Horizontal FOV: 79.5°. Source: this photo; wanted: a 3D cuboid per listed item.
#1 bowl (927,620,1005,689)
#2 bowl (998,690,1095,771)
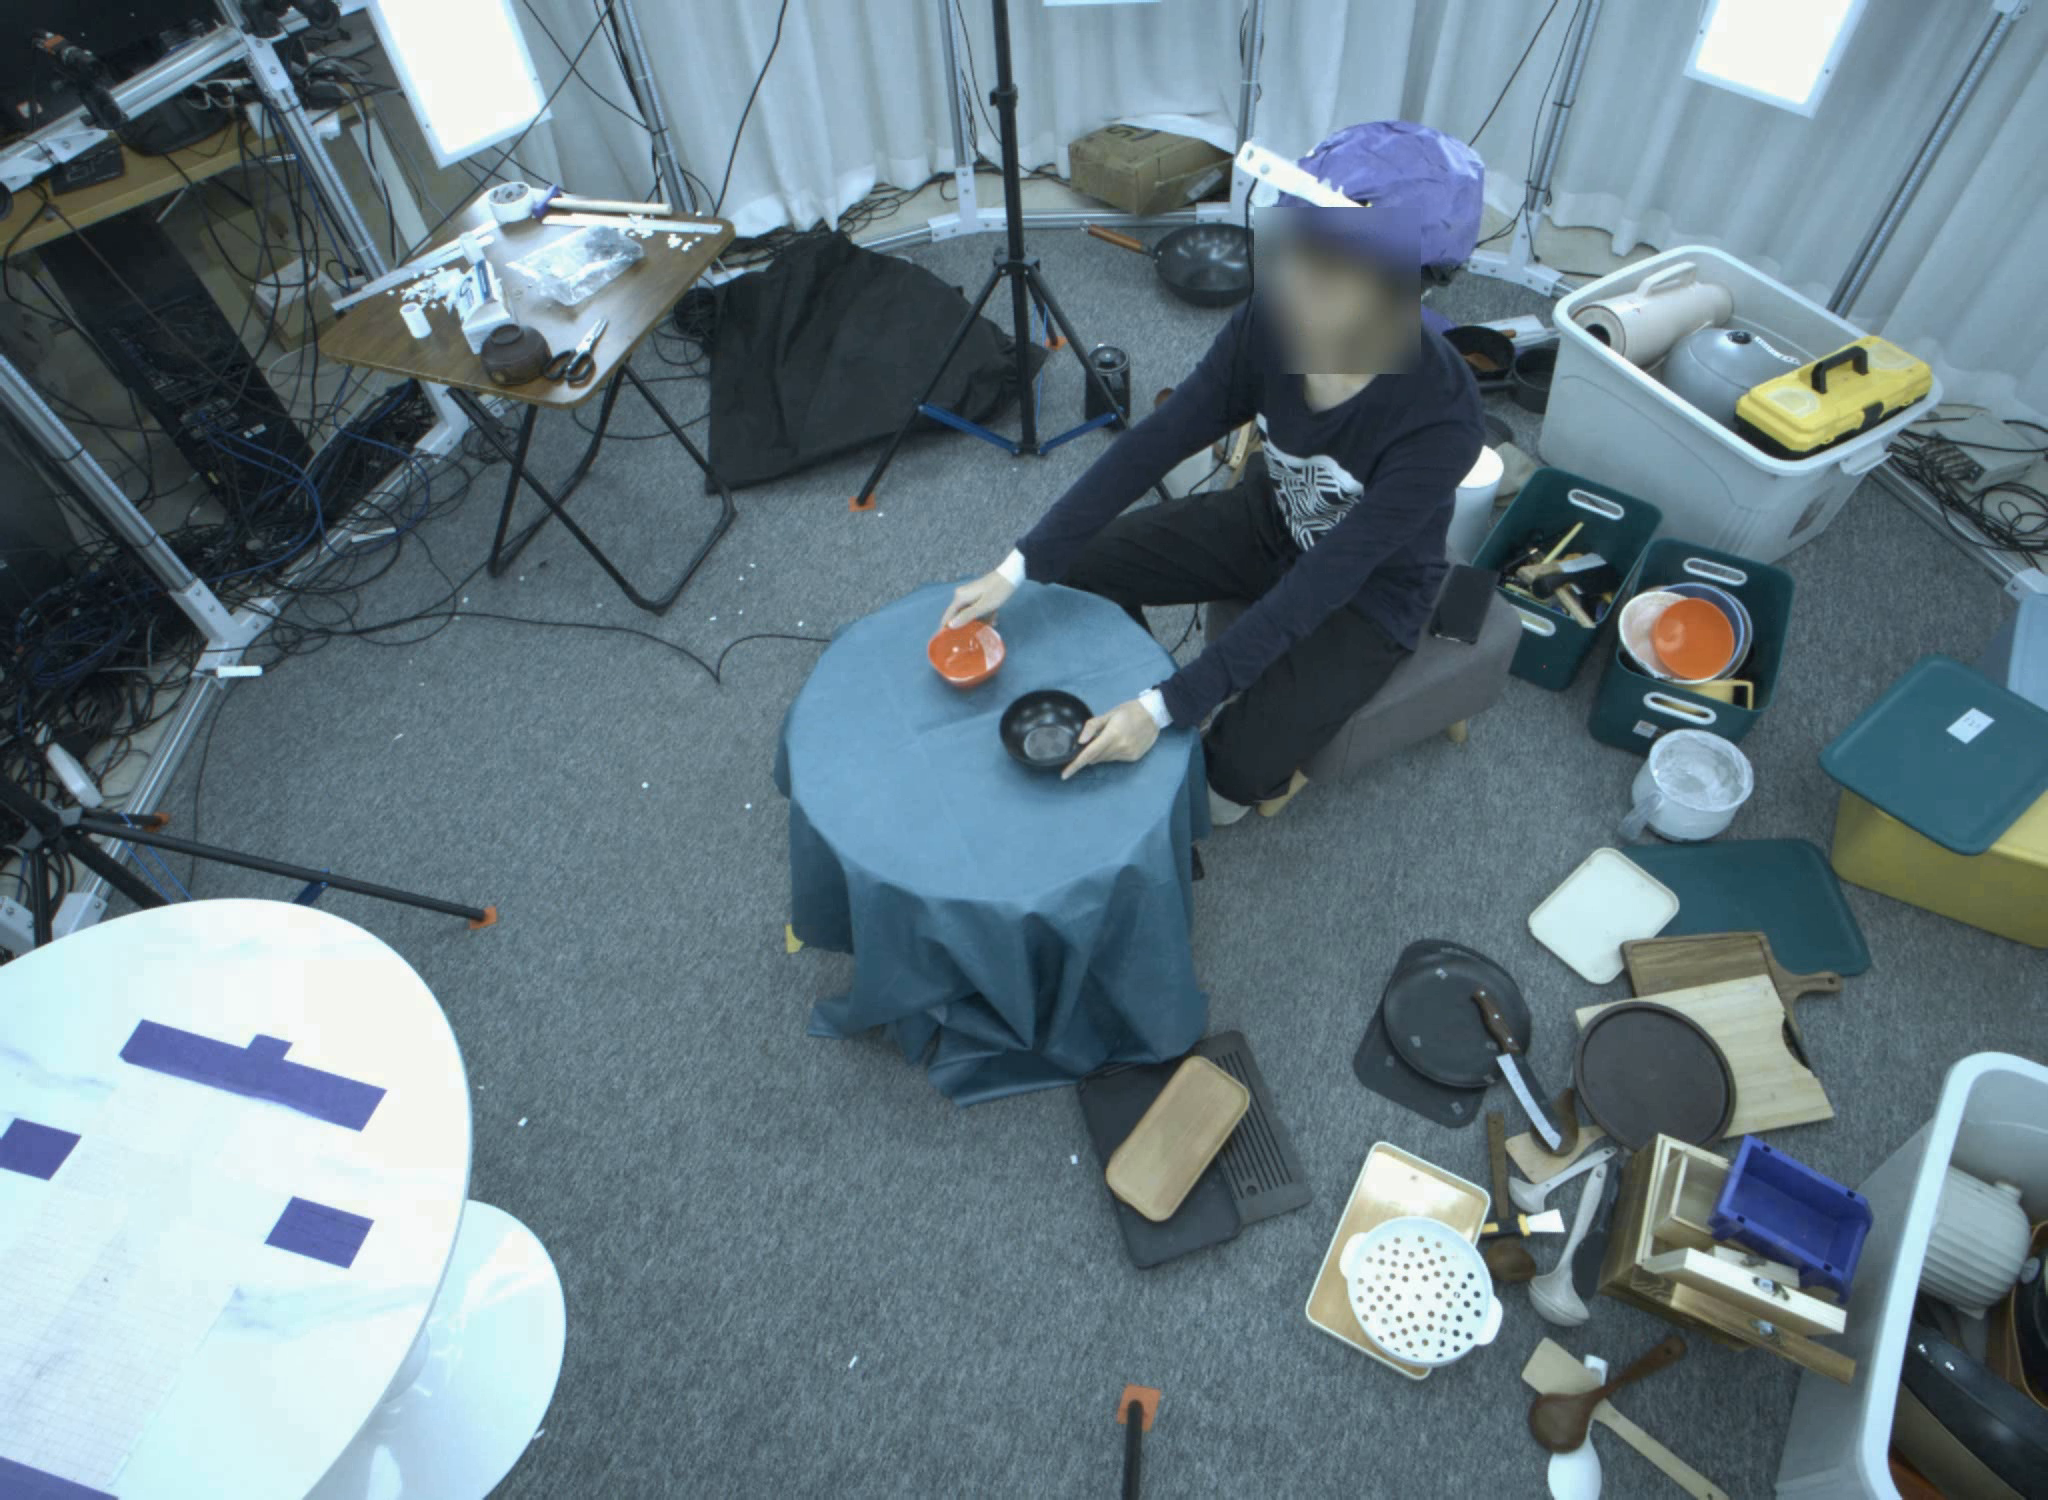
[{"bbox_3d":[-0.086,-0.138,1.863,0.119,0.052,0.117,-1,54,3],"label":"bowl"},{"bbox_3d":[0.033,-0.020,1.781,0.140,0.050,0.138,2,52,-1],"label":"bowl"}]
